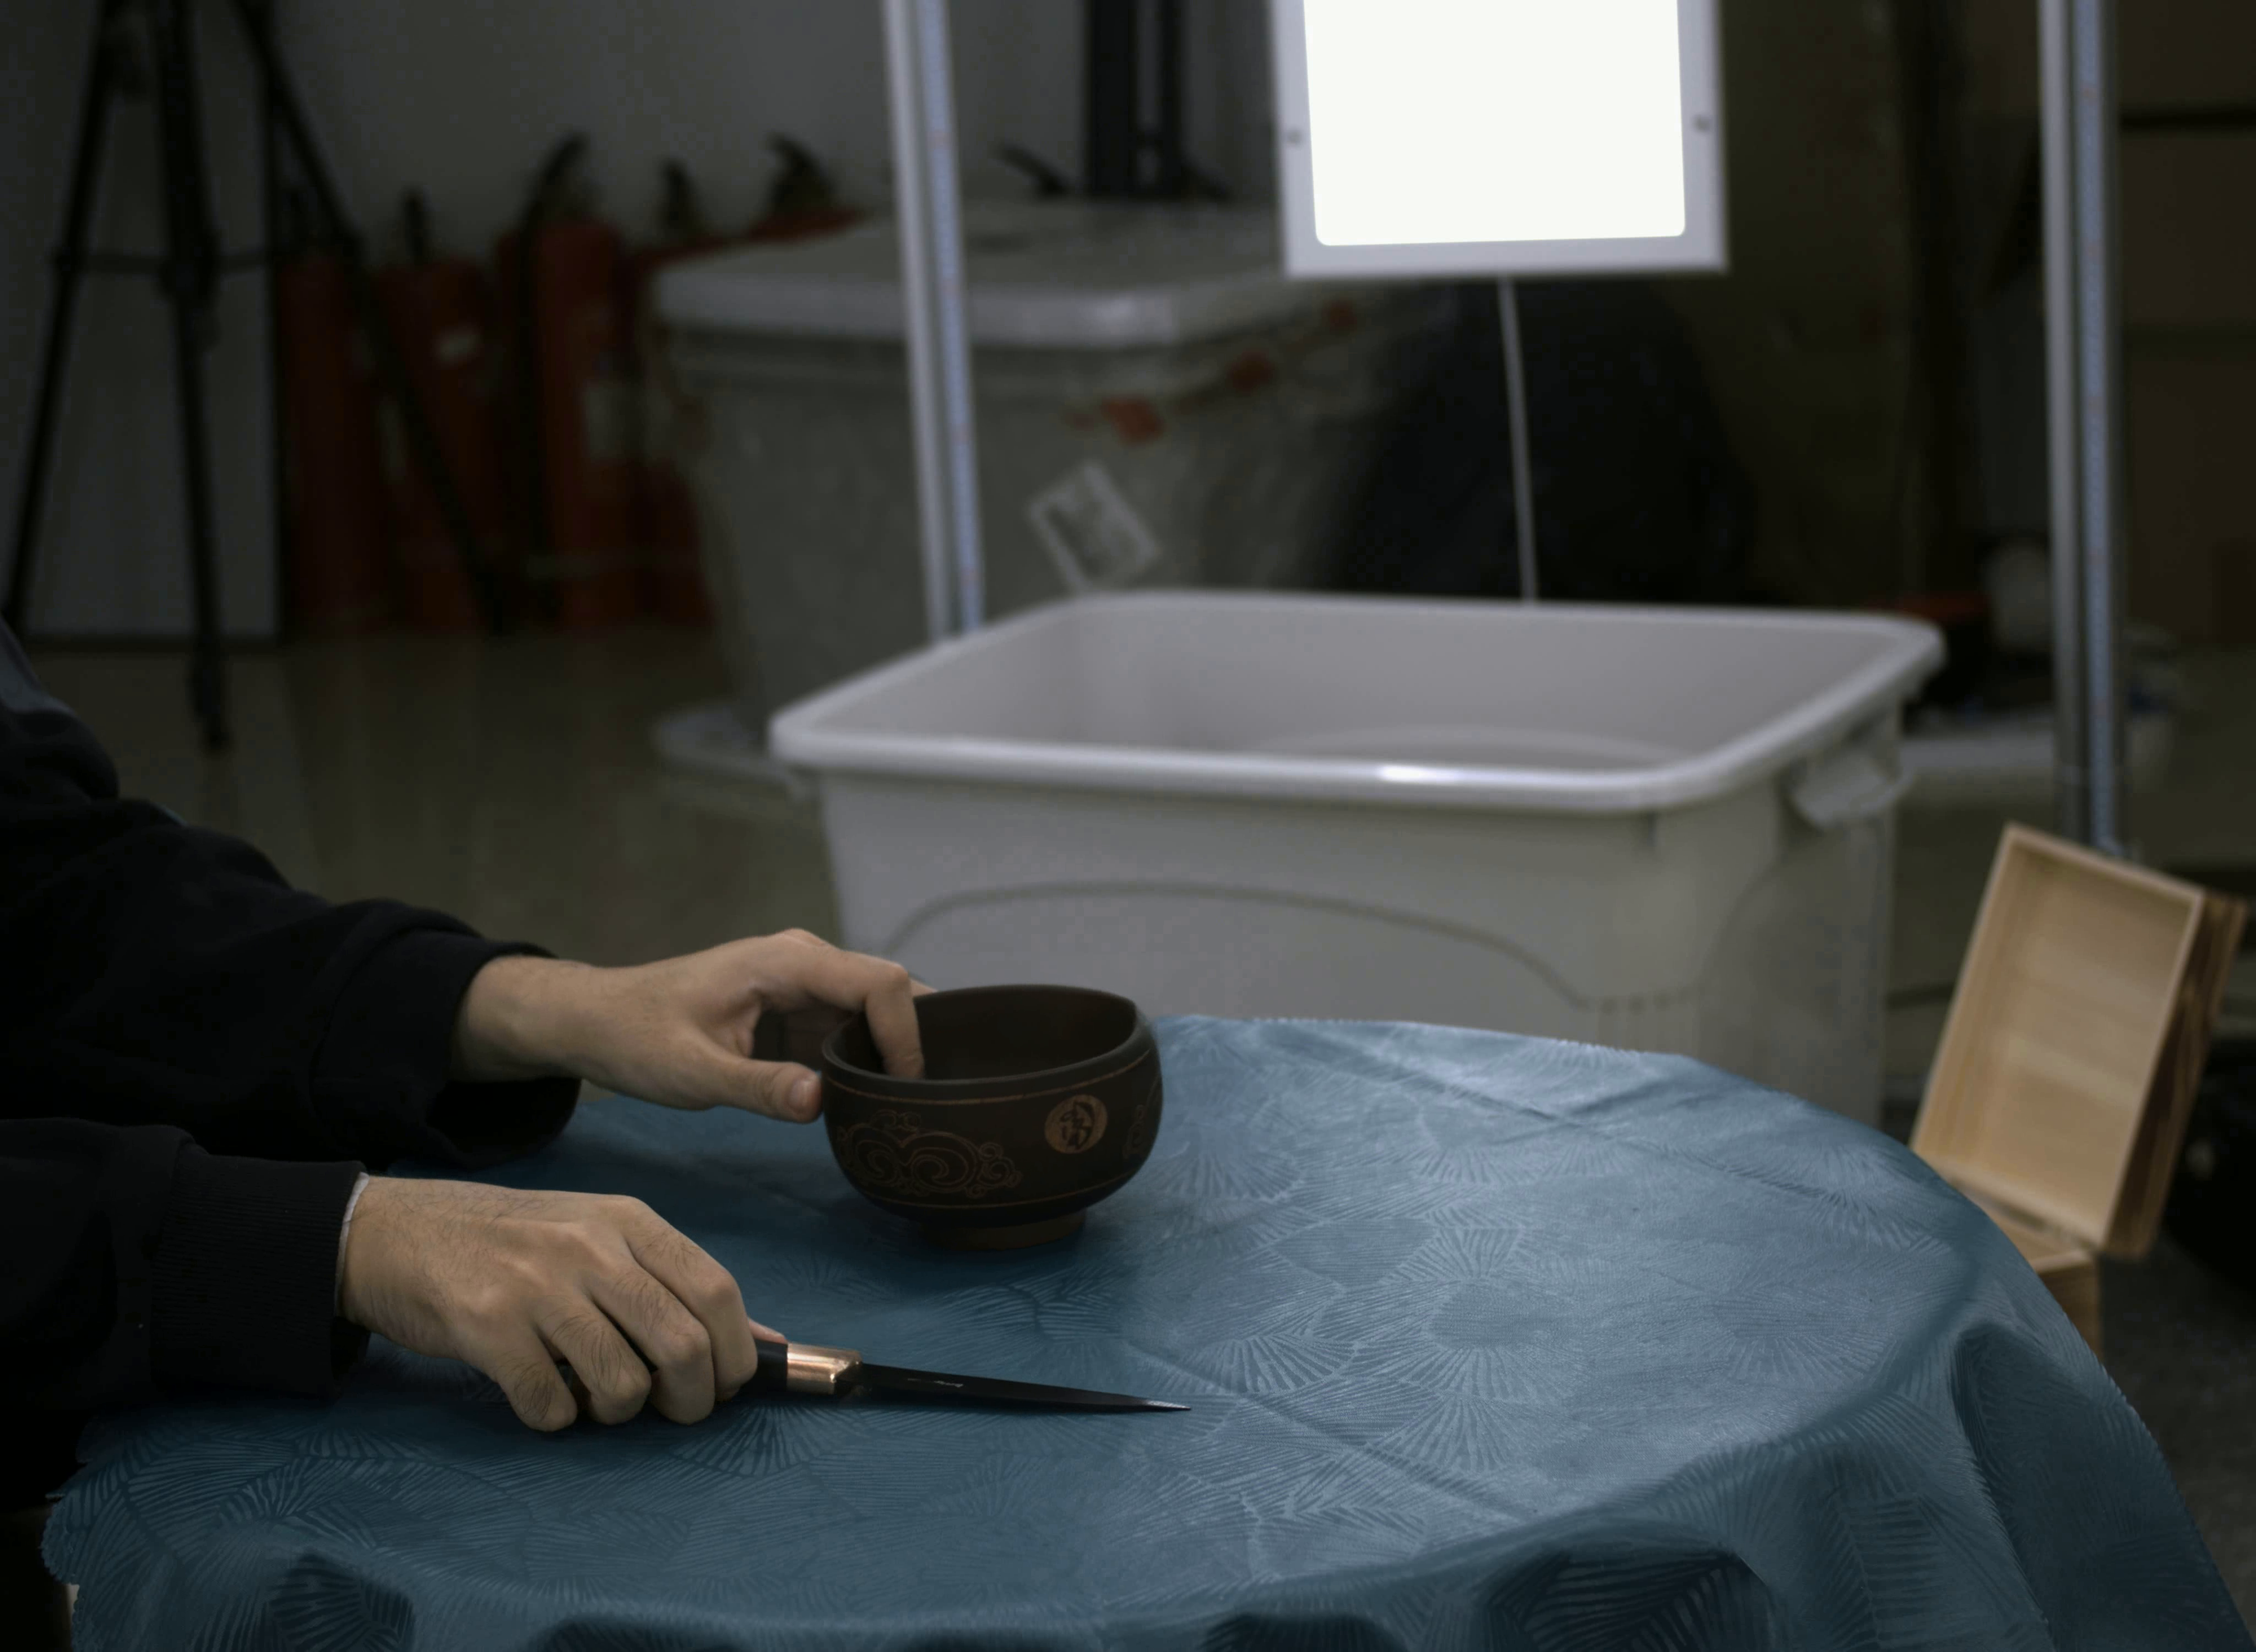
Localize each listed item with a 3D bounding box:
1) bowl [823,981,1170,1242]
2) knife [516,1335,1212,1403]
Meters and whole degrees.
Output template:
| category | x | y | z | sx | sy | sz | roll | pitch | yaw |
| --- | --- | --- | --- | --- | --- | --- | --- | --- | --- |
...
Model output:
| category | x | y | z | sx | sy | sz | roll | pitch | yaw |
| --- | --- | --- | --- | --- | --- | --- | --- | --- | --- |
| bowl | -0.043 | 0.100 | 1.863 | 0.118 | 0.070 | 0.118 | -5 | 12 | 0 |
| knife | -0.084 | 0.172 | 1.720 | 0.228 | 0.017 | 0.026 | 2 | 7 | 18 |
